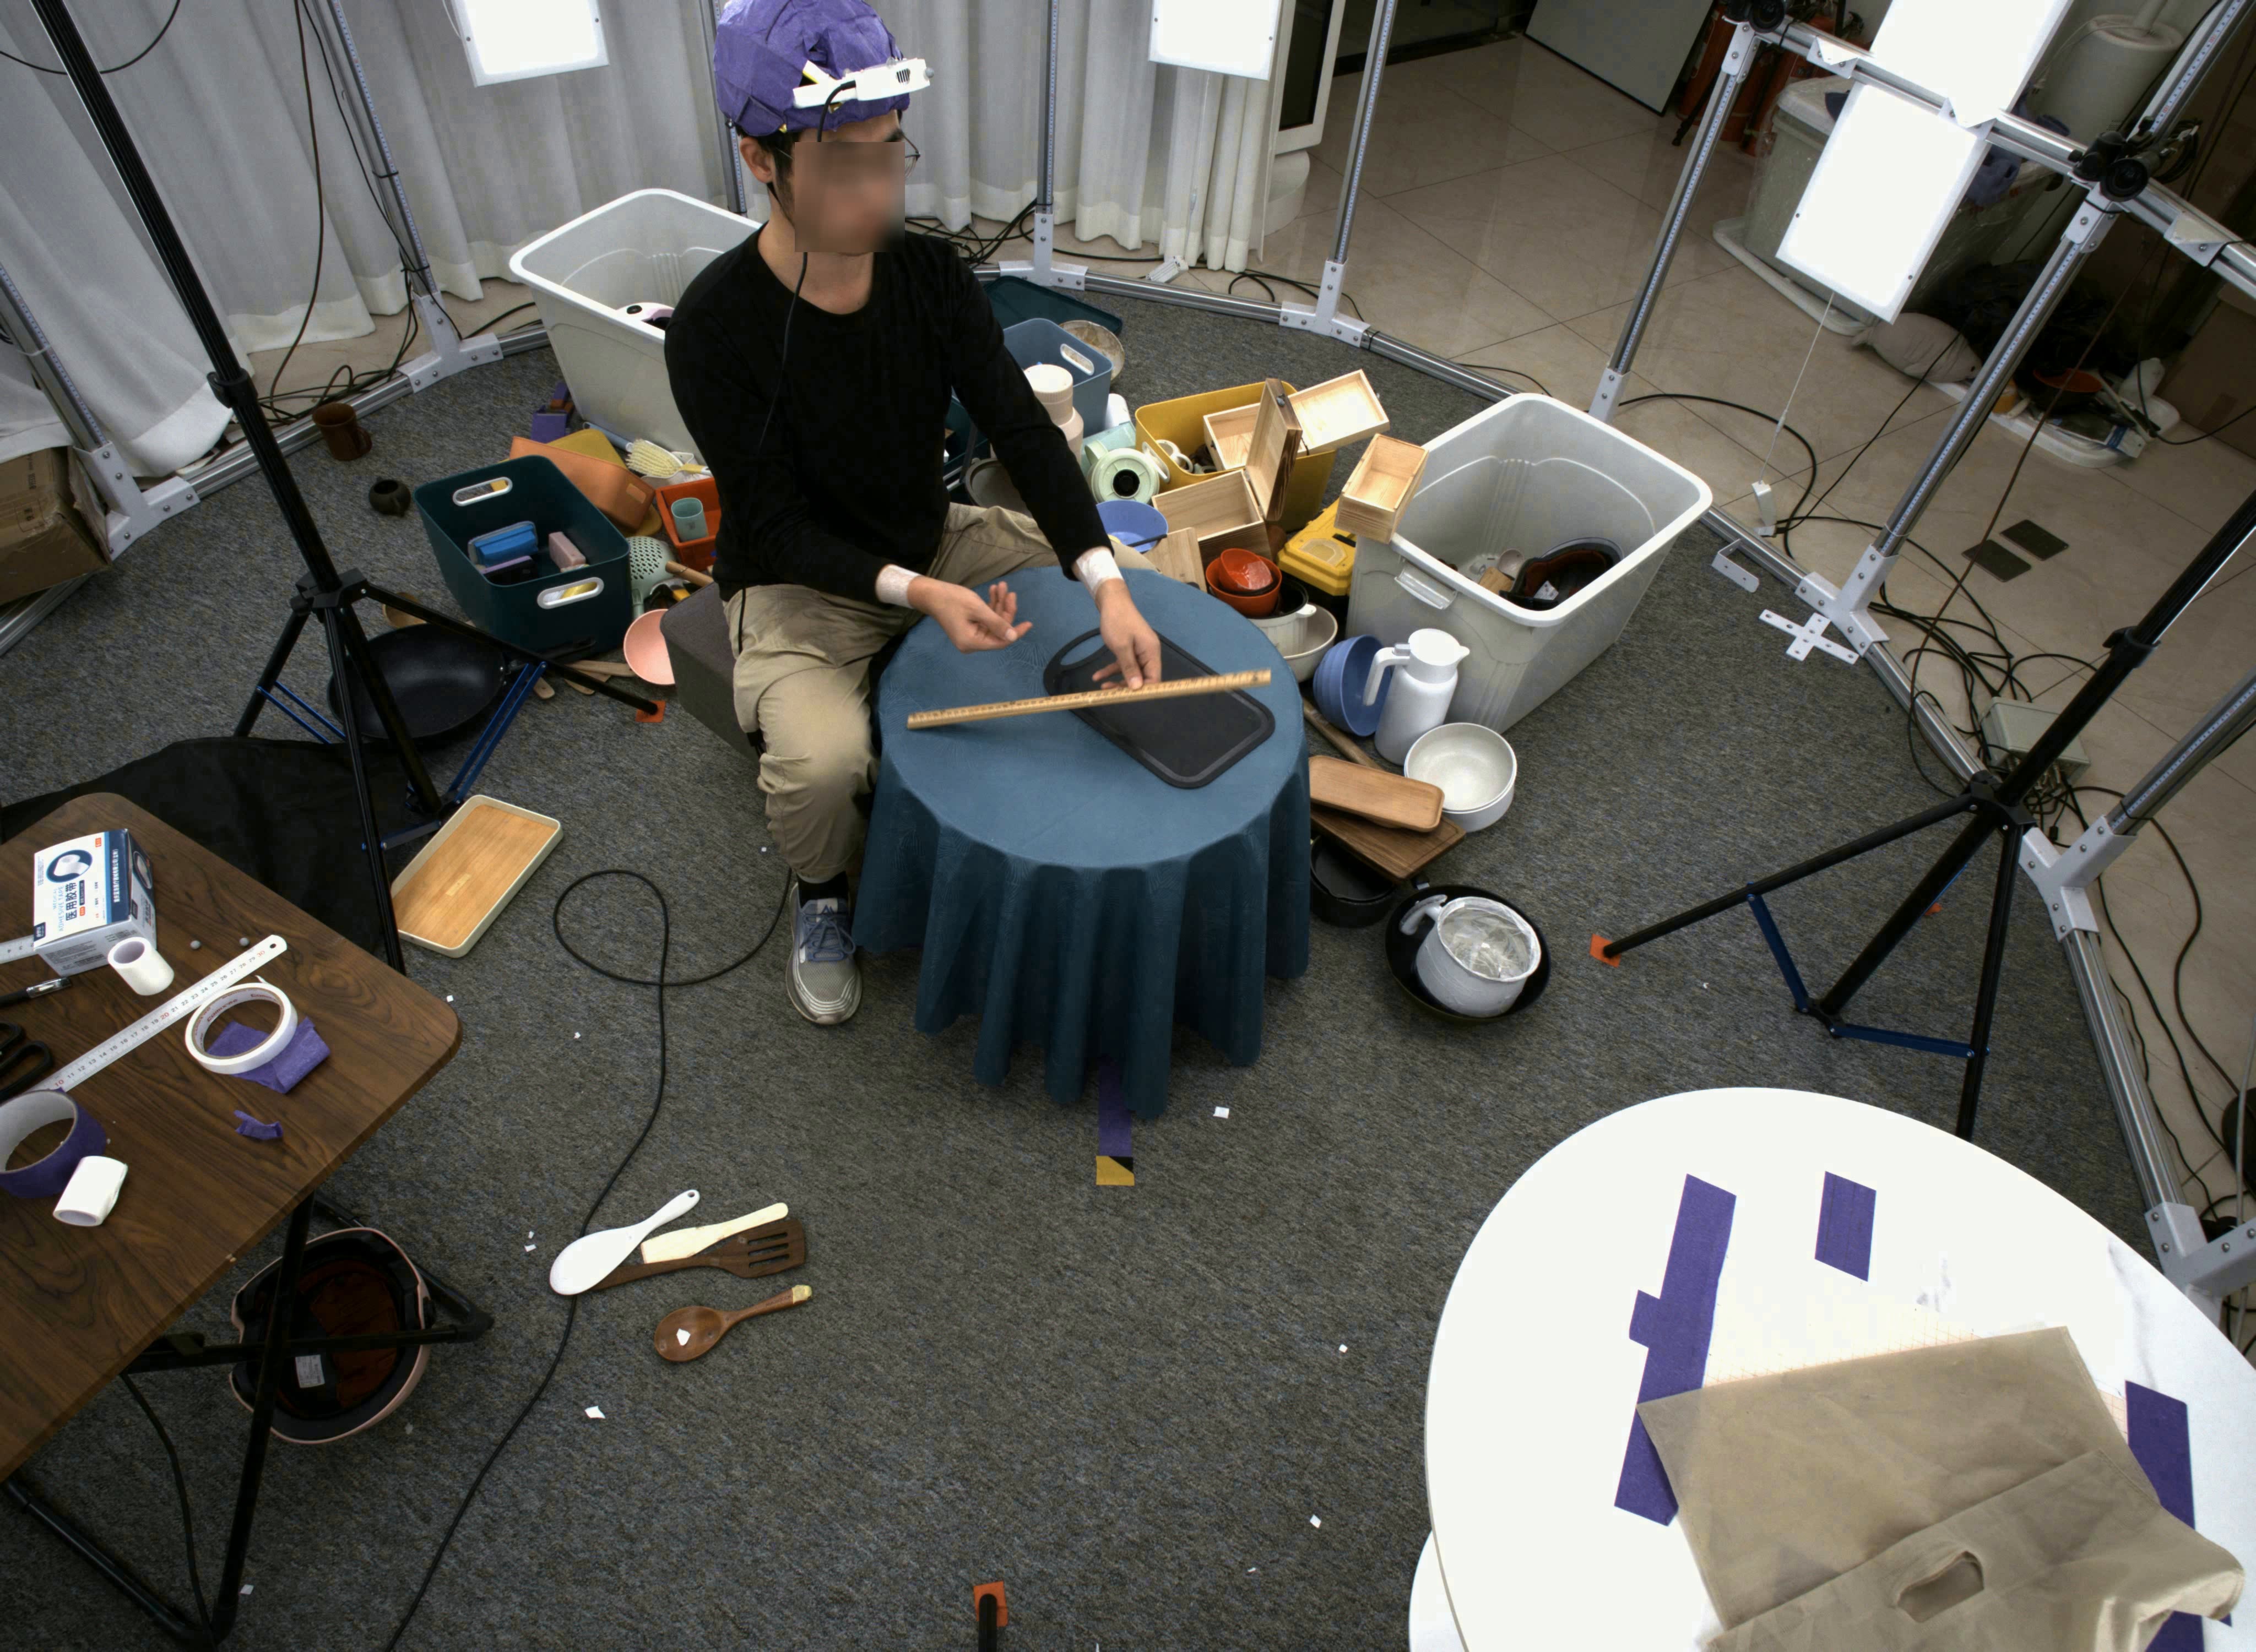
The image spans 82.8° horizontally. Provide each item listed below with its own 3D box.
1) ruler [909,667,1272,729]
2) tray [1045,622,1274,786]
[{"bbox_3d":[-0.057,-0.170,1.715,0.500,0.006,0.027,-6,46,13],"label":"ruler"},{"bbox_3d":[0.037,-0.185,1.828,0.213,0.009,0.330,-36,60,-29],"label":"tray"}]
